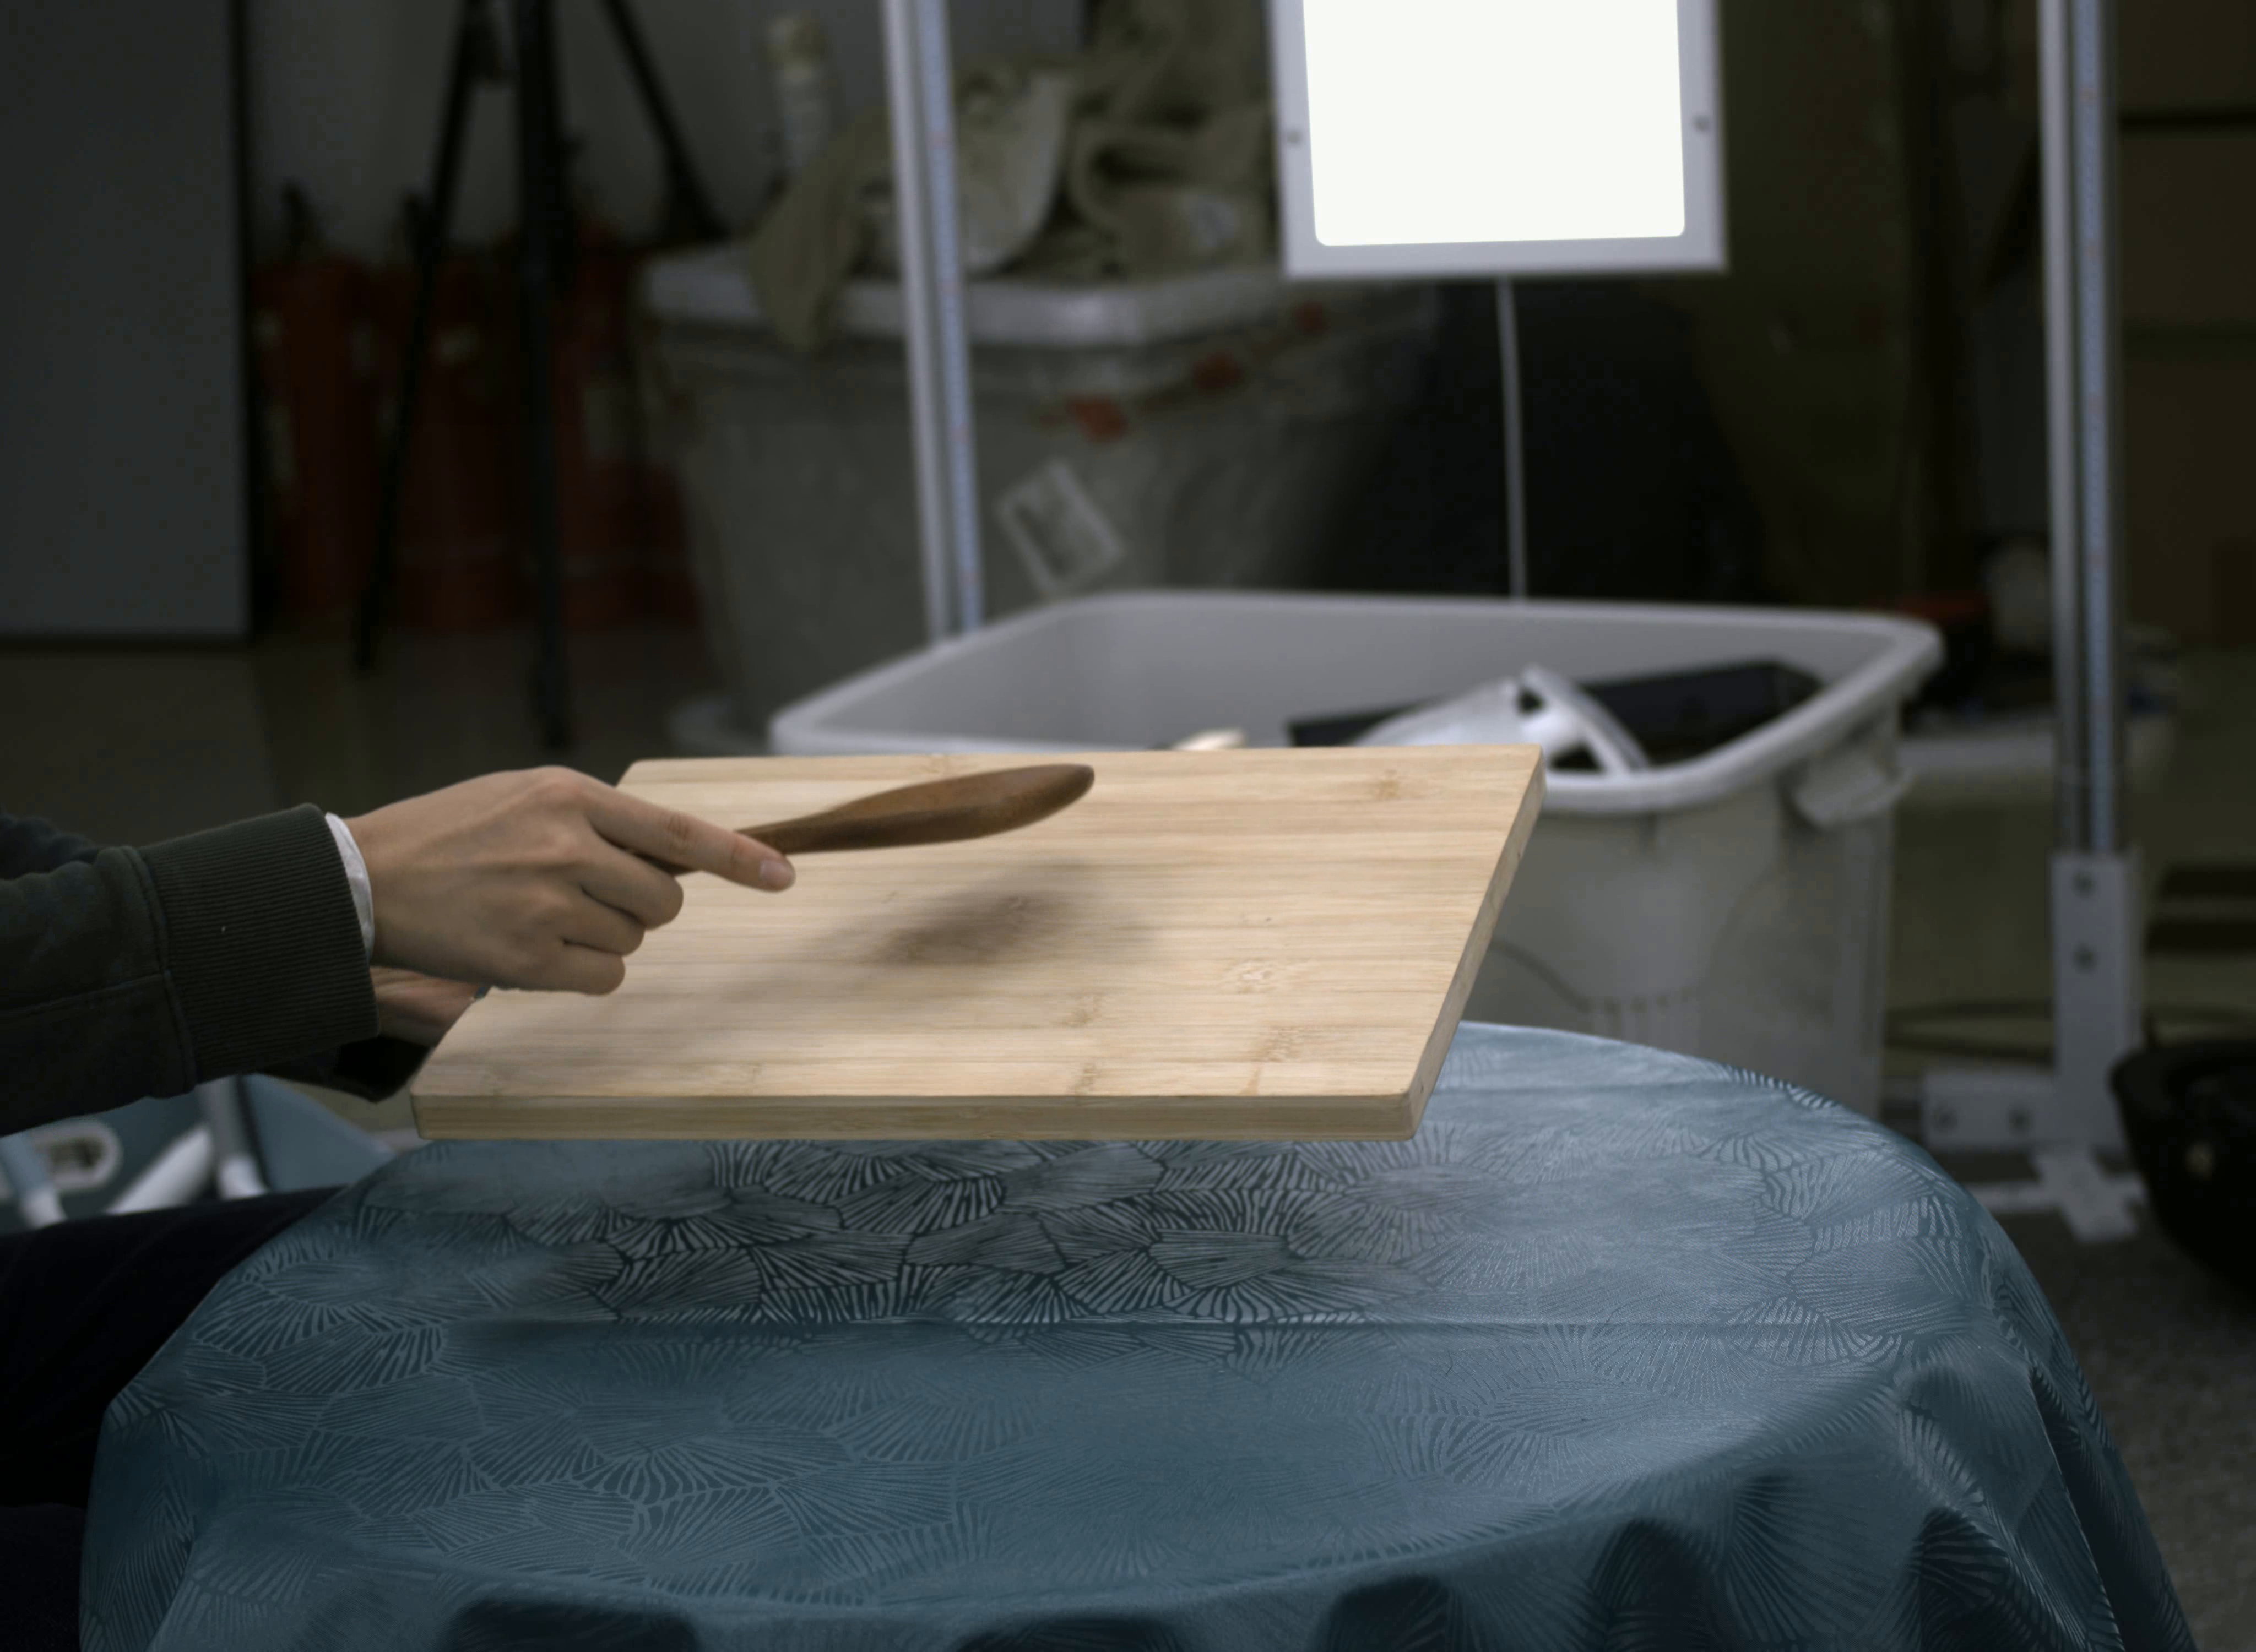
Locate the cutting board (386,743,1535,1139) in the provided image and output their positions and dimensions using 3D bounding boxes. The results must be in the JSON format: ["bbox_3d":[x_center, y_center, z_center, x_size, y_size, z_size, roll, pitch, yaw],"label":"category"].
[{"bbox_3d":[-0.051,0.037,1.867,0.352,0.023,0.247,-2,27,17],"label":"cutting board"}]

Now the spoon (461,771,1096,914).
[{"bbox_3d":[-0.114,0.006,1.820,0.213,0.017,0.076,-9,10,-12],"label":"spoon"}]
